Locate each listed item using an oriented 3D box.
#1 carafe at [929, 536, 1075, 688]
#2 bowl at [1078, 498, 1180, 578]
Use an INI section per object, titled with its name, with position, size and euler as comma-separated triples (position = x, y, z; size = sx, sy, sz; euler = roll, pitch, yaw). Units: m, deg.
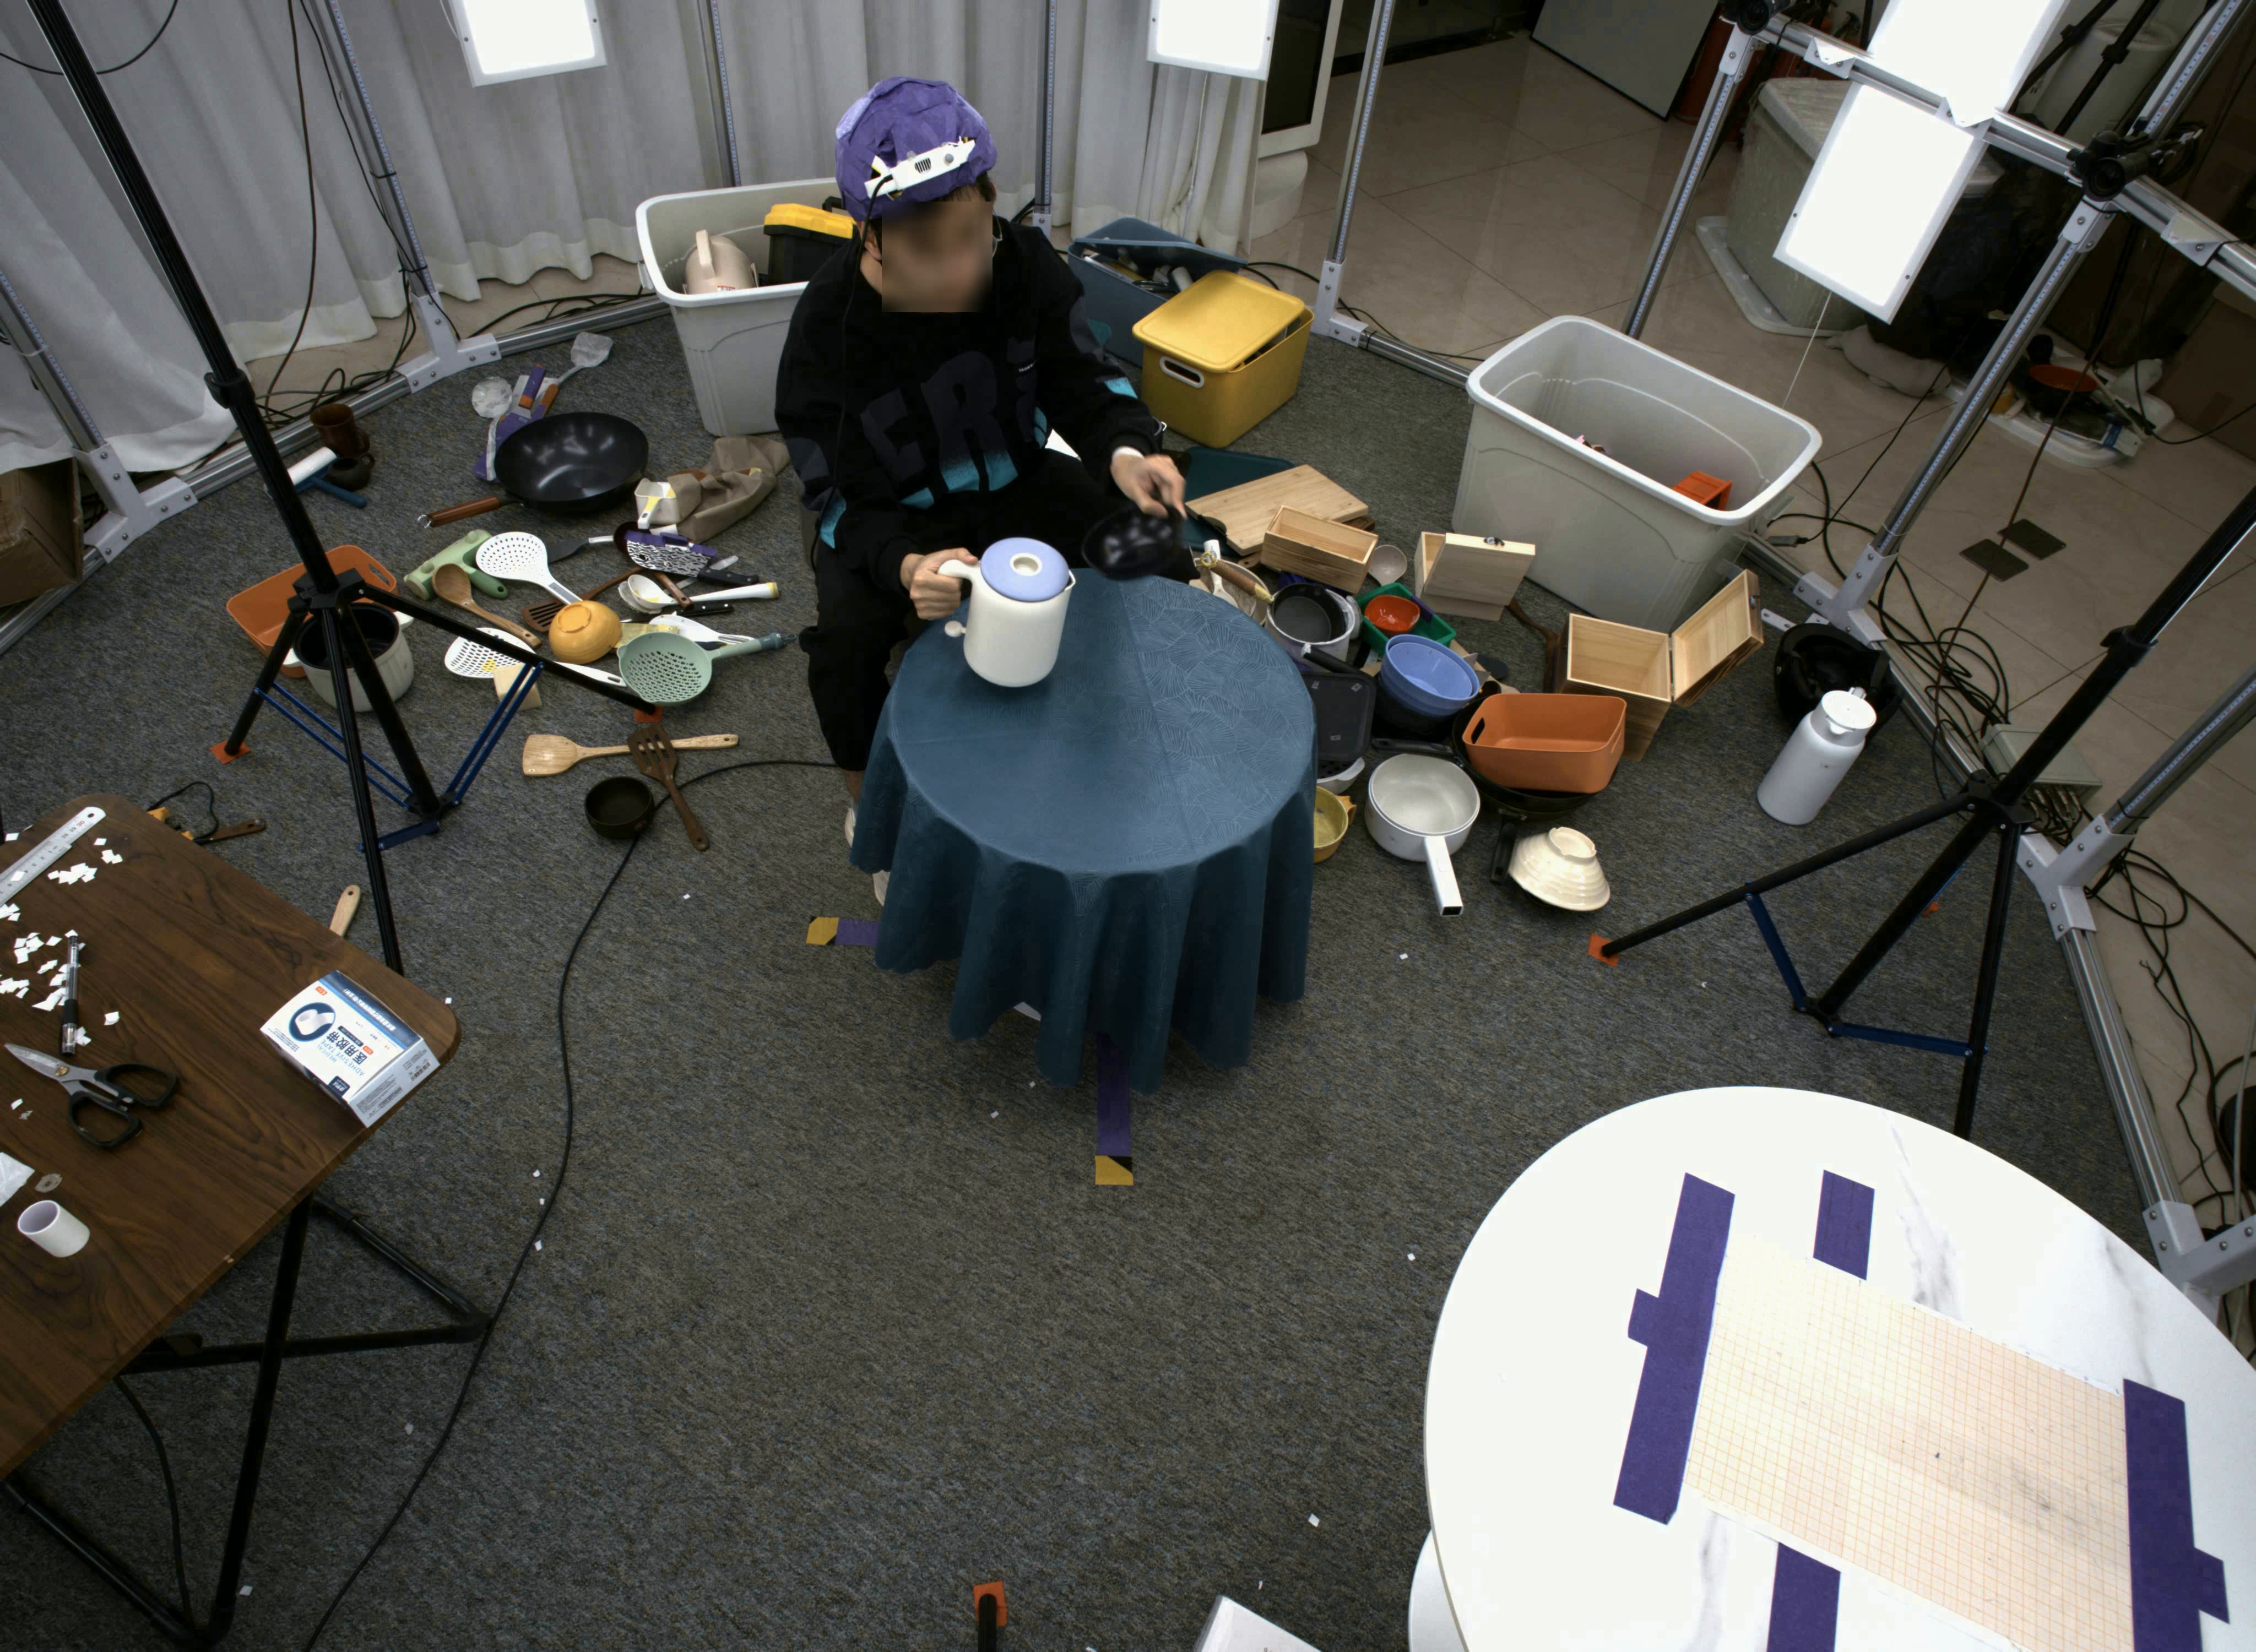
[carafe]
position = -0.175, -0.295, 1.752
size = 0.191, 0.178, 0.135
euler = 10, 50, -2
[bowl]
position = 0.009, -0.364, 1.668
size = 0.140, 0.048, 0.143
euler = -17, 39, 14
